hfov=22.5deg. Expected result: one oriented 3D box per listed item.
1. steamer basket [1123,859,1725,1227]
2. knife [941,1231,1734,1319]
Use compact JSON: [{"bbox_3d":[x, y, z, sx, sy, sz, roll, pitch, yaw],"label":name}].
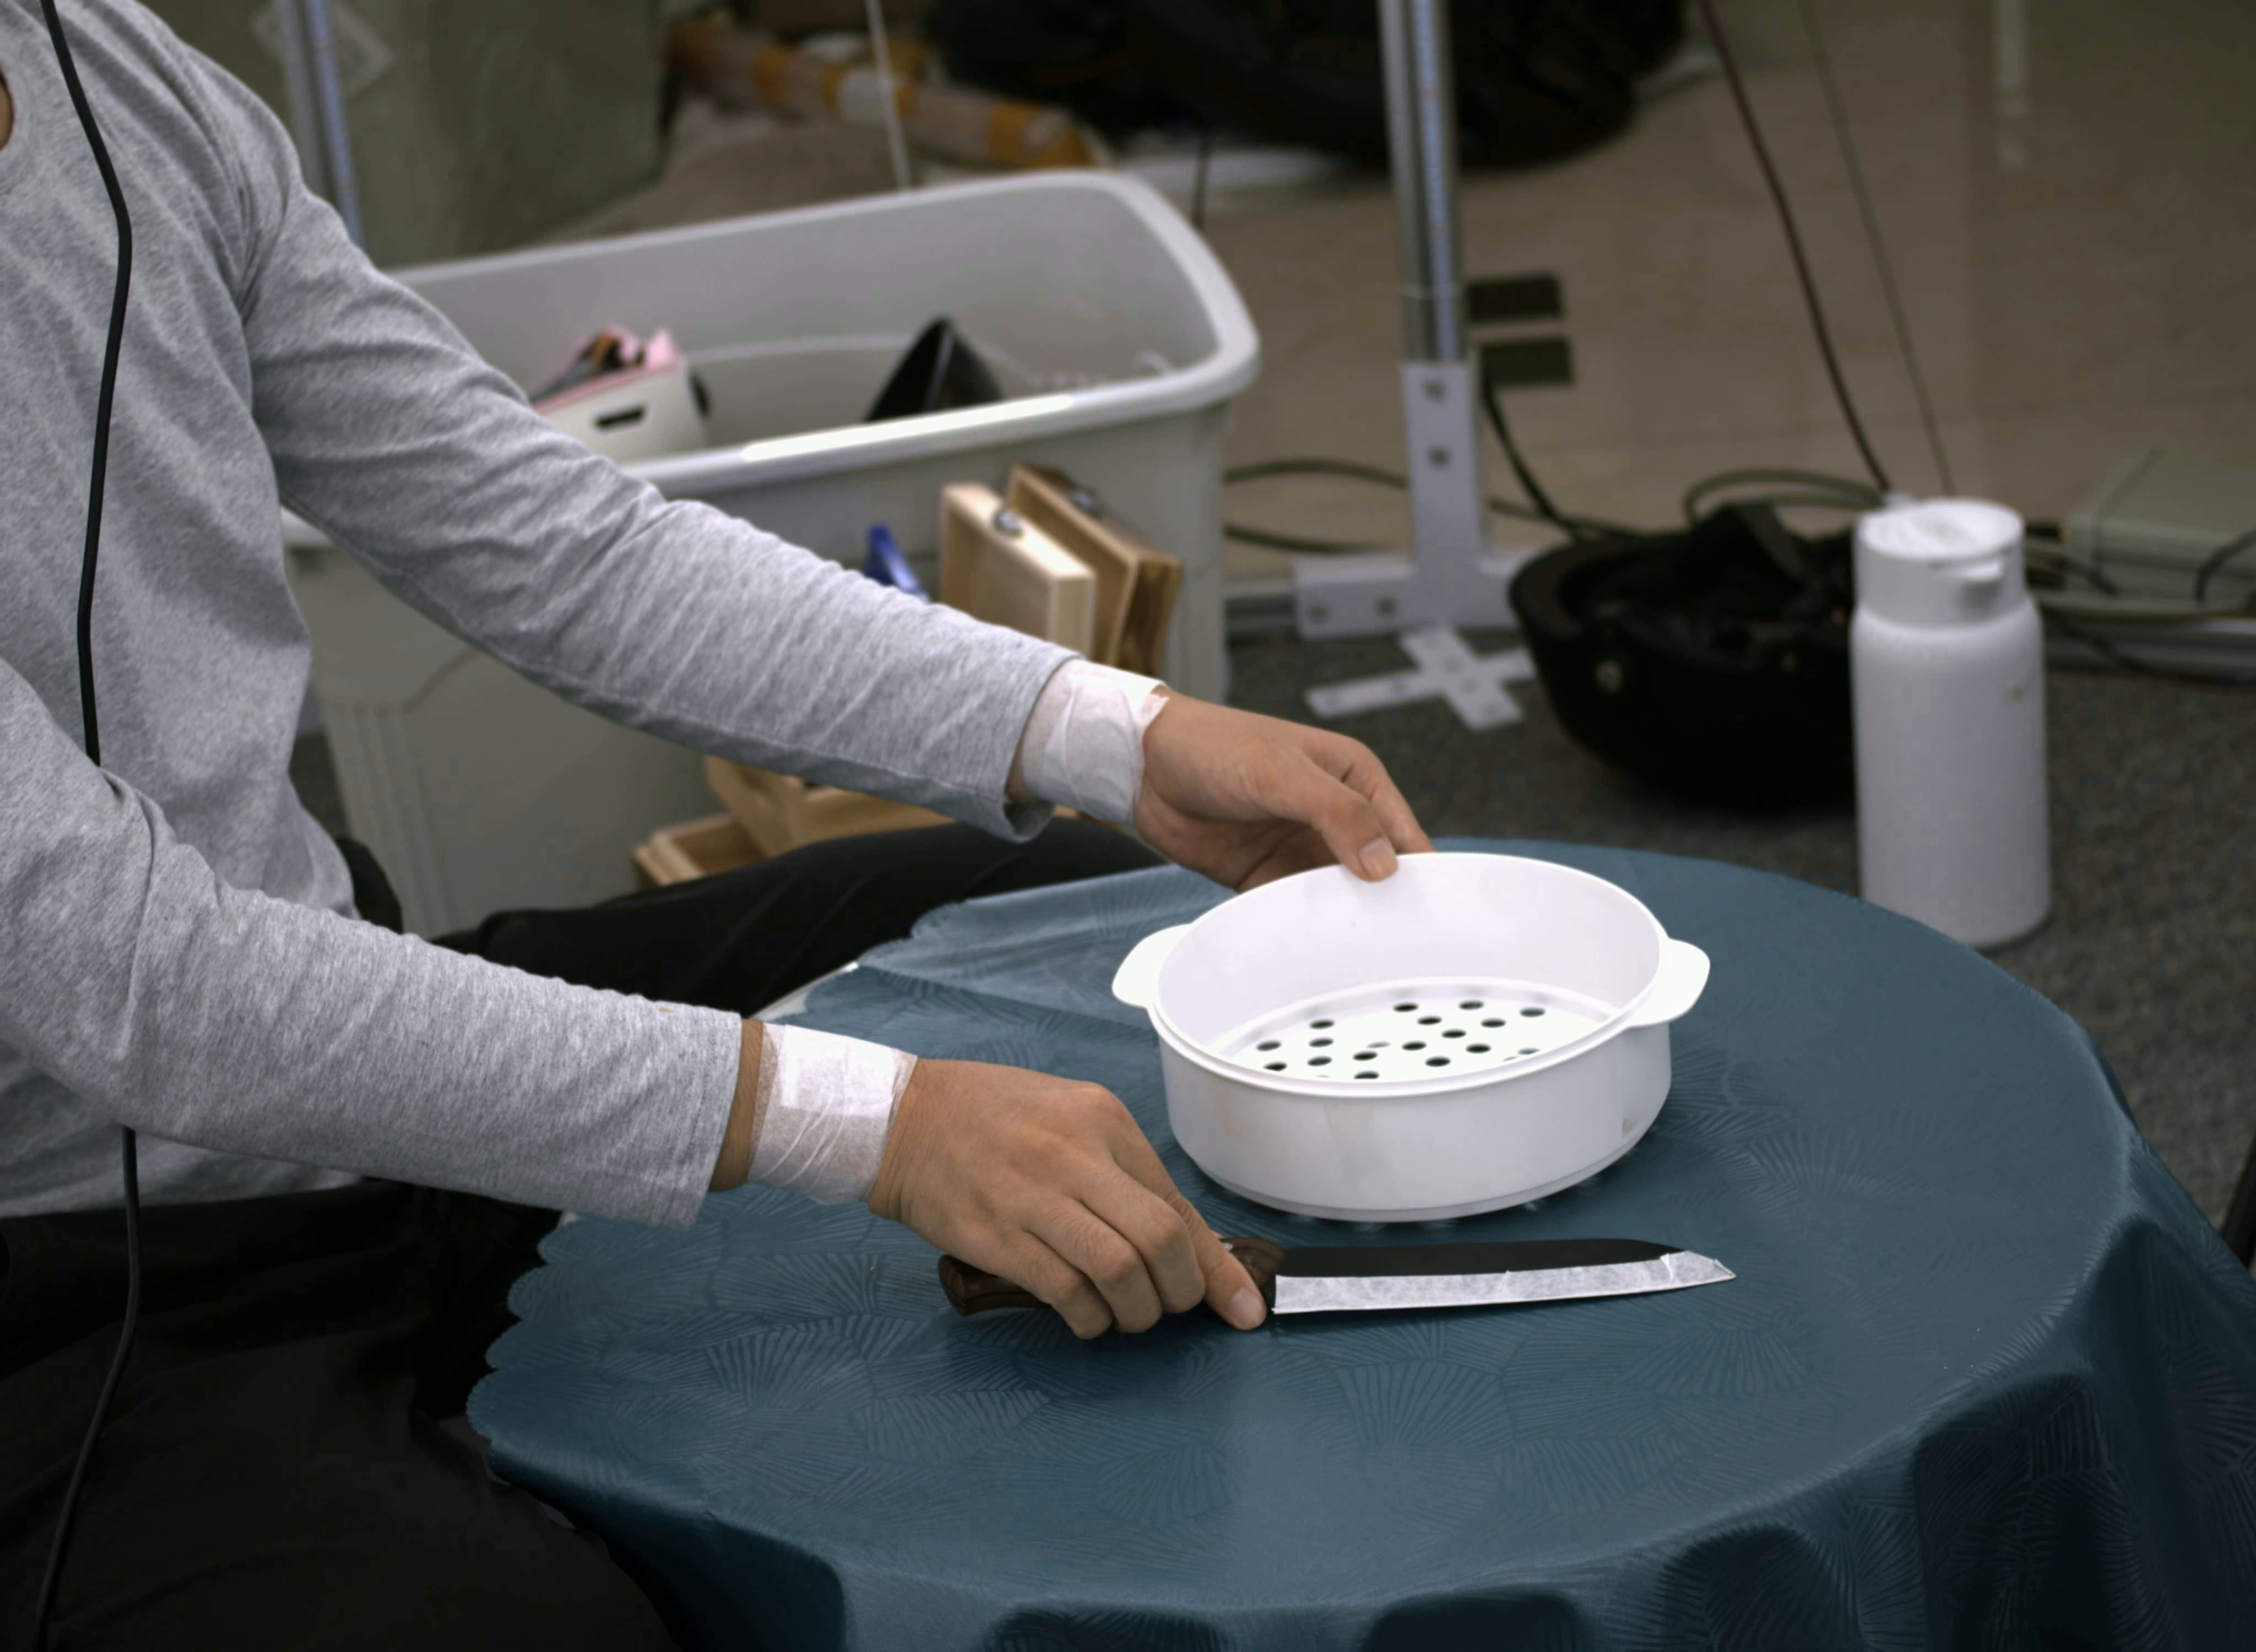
[{"bbox_3d":[0.114,0.082,2.165,0.230,0.070,0.199,1,25,18],"label":"steamer basket"},{"bbox_3d":[0.075,0.164,2.062,0.288,0.020,0.049,-2,29,4],"label":"knife"}]
